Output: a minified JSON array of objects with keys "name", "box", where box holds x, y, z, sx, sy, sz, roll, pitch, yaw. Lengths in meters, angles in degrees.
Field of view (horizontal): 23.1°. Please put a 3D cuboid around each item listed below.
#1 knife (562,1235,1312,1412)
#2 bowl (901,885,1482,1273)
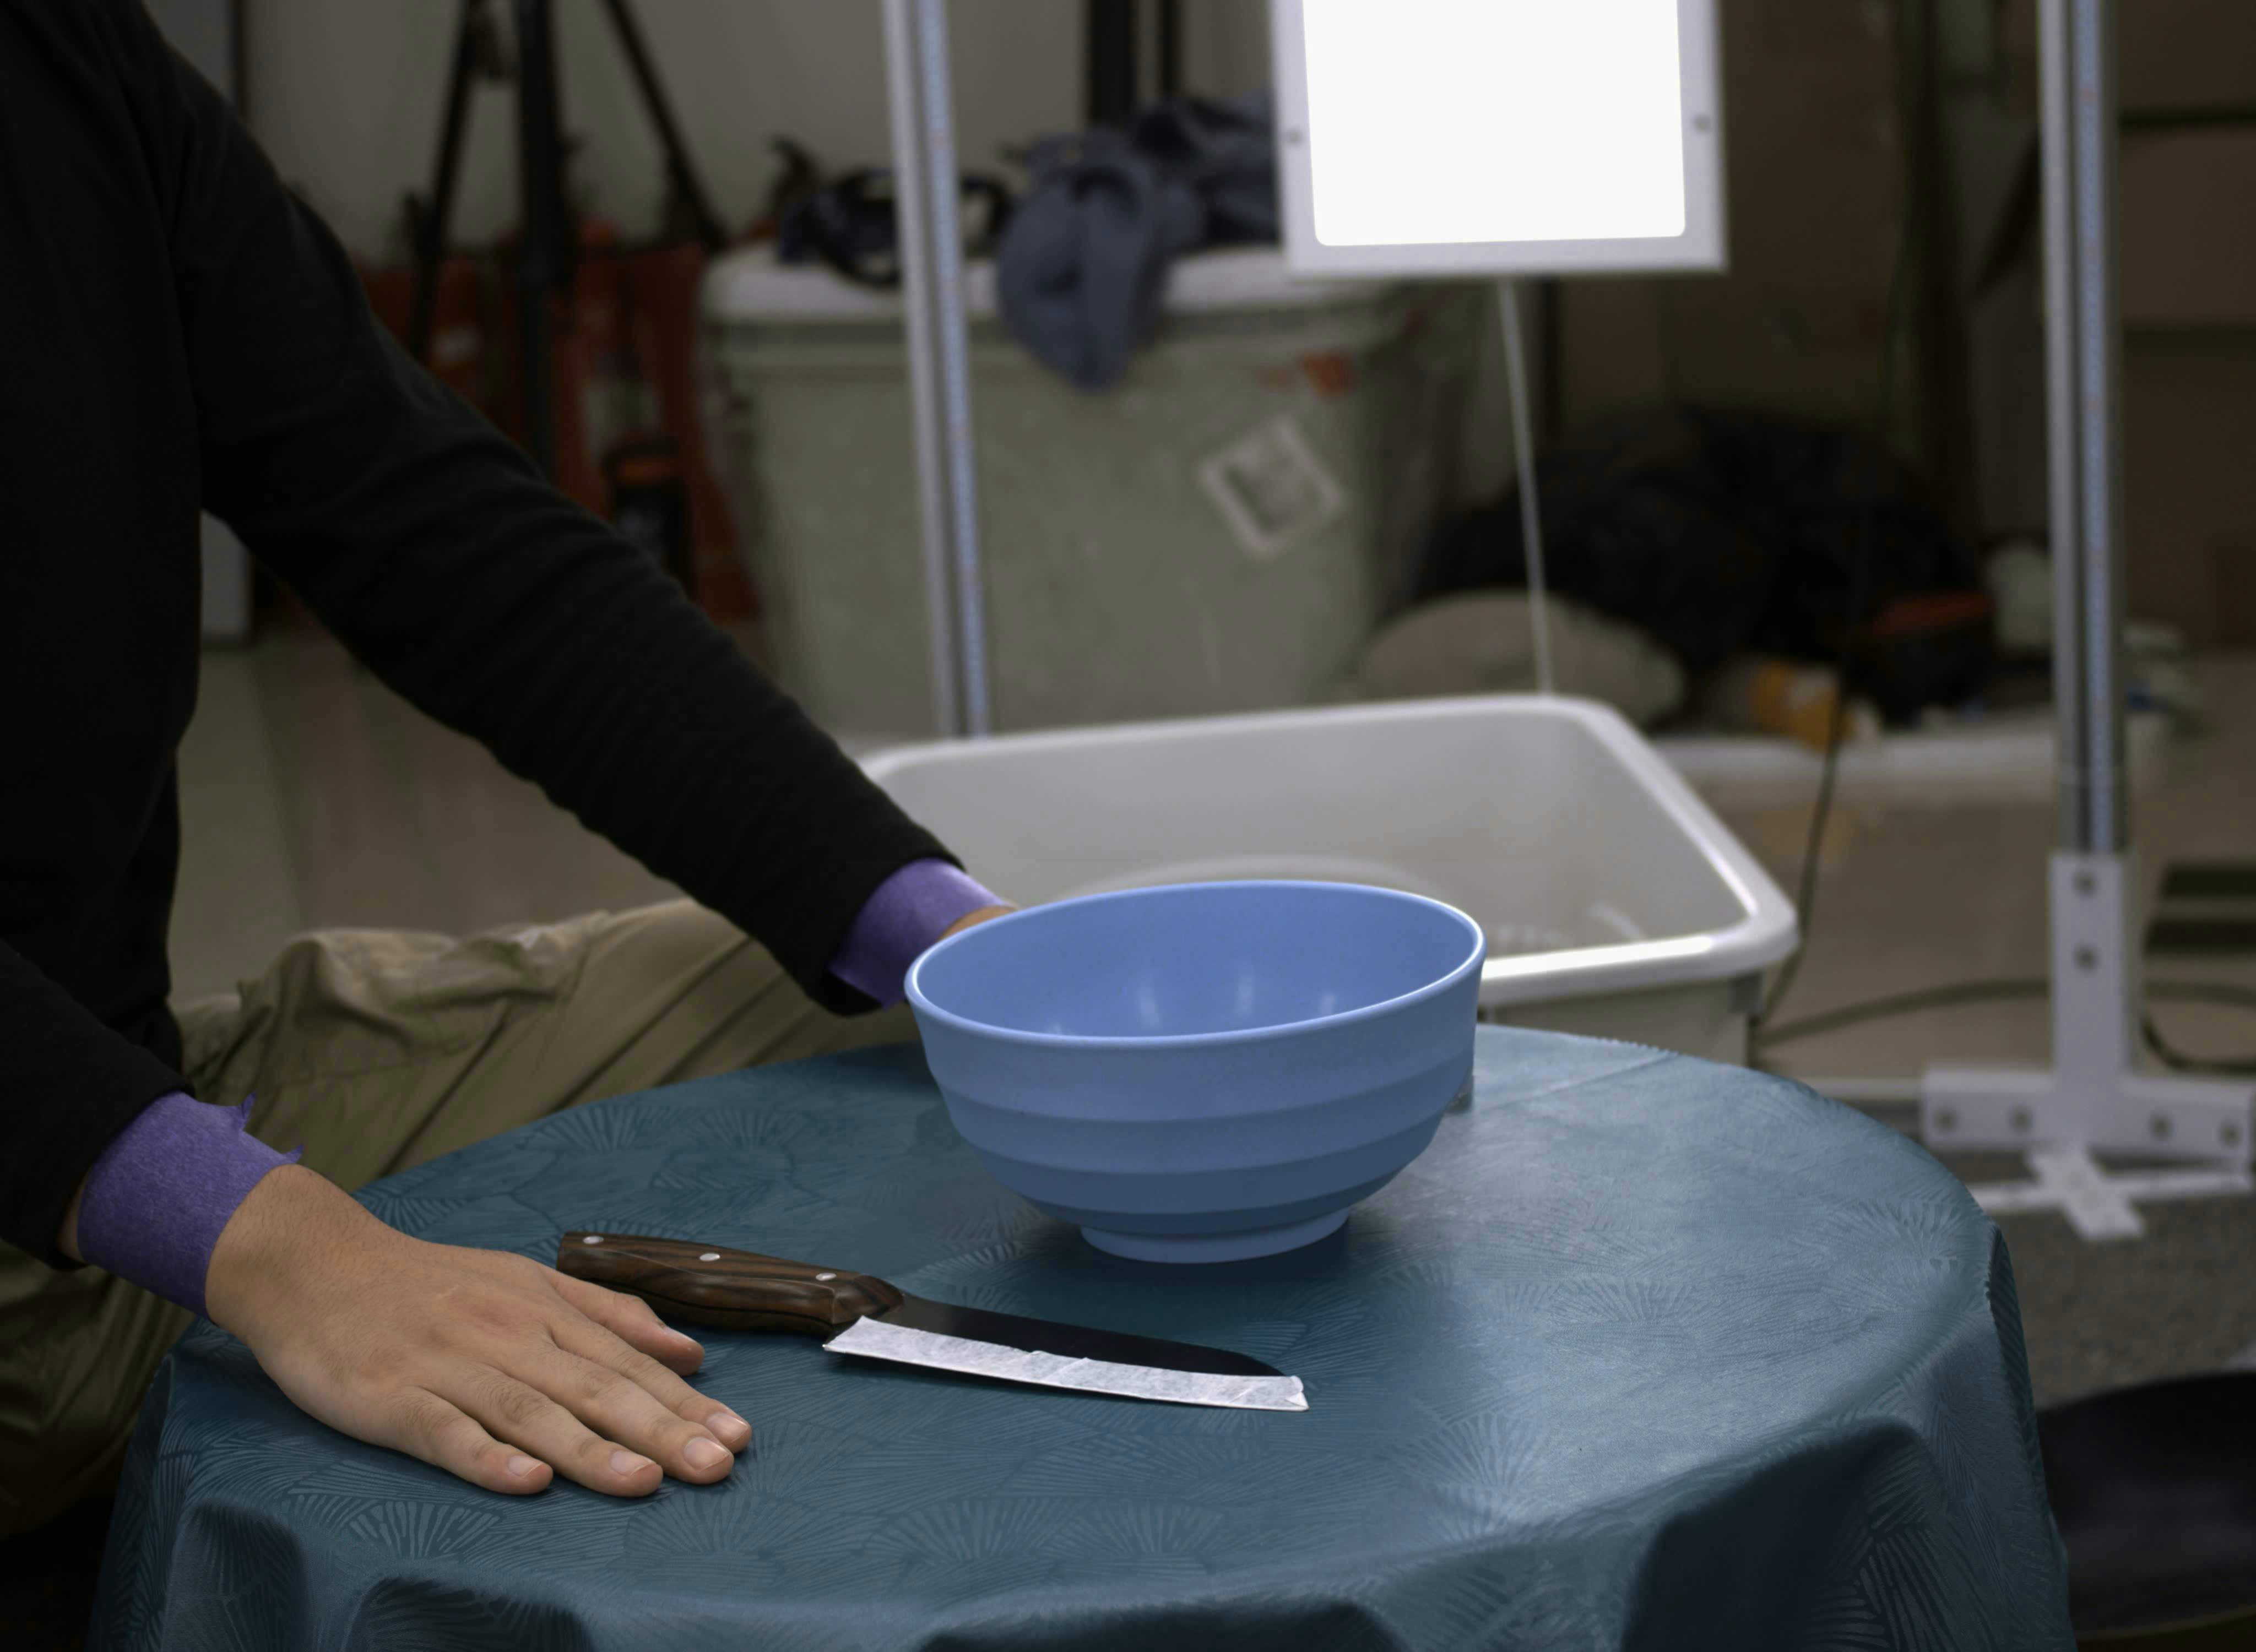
[{"name":"knife","box":[-0.065,0.160,1.755,0.295,0.020,0.049,7,23,33]},{"name":"bowl","box":[0.026,0.091,1.848,0.196,0.096,0.196,-7,13,0]}]
